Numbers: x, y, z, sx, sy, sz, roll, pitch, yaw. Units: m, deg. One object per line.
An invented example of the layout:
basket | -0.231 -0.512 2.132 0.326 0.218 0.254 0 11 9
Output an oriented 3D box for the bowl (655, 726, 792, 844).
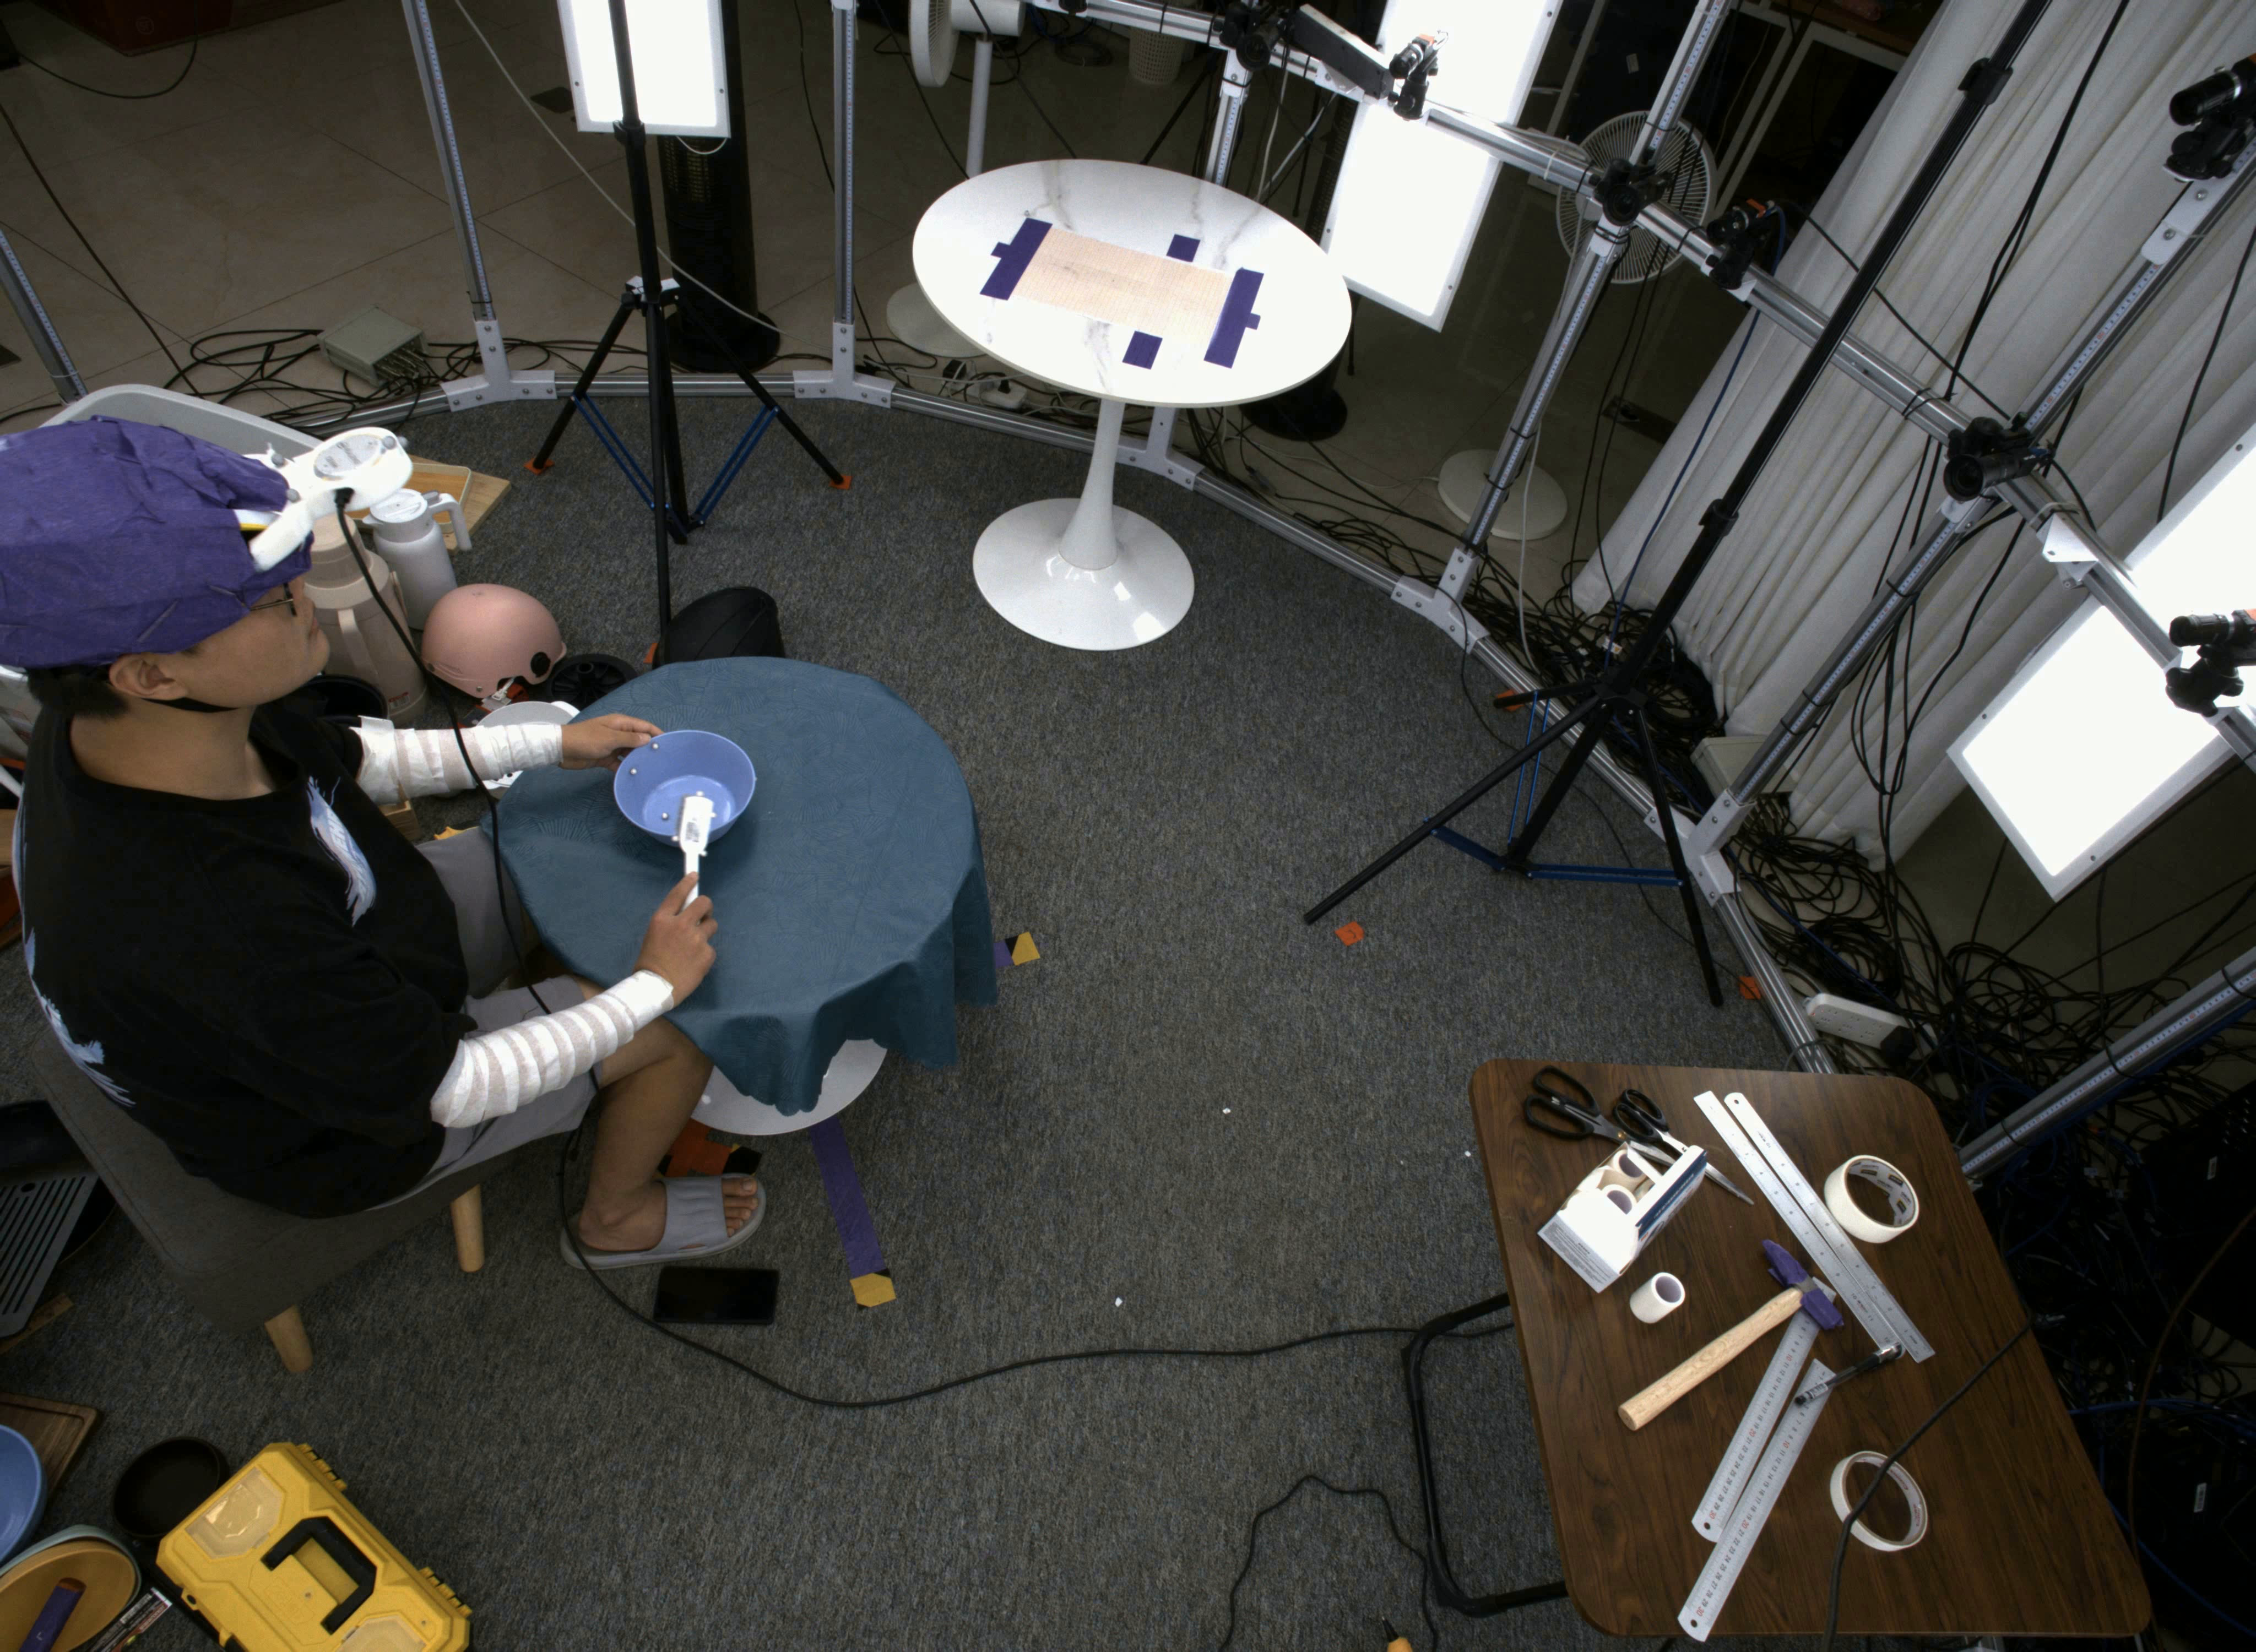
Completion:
bowl | -0.528 -0.044 1.696 0.175 0.072 0.173 7 52 -7

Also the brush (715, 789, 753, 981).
brush | -0.491 0.069 1.586 0.035 0.049 0.243 9 73 -31
